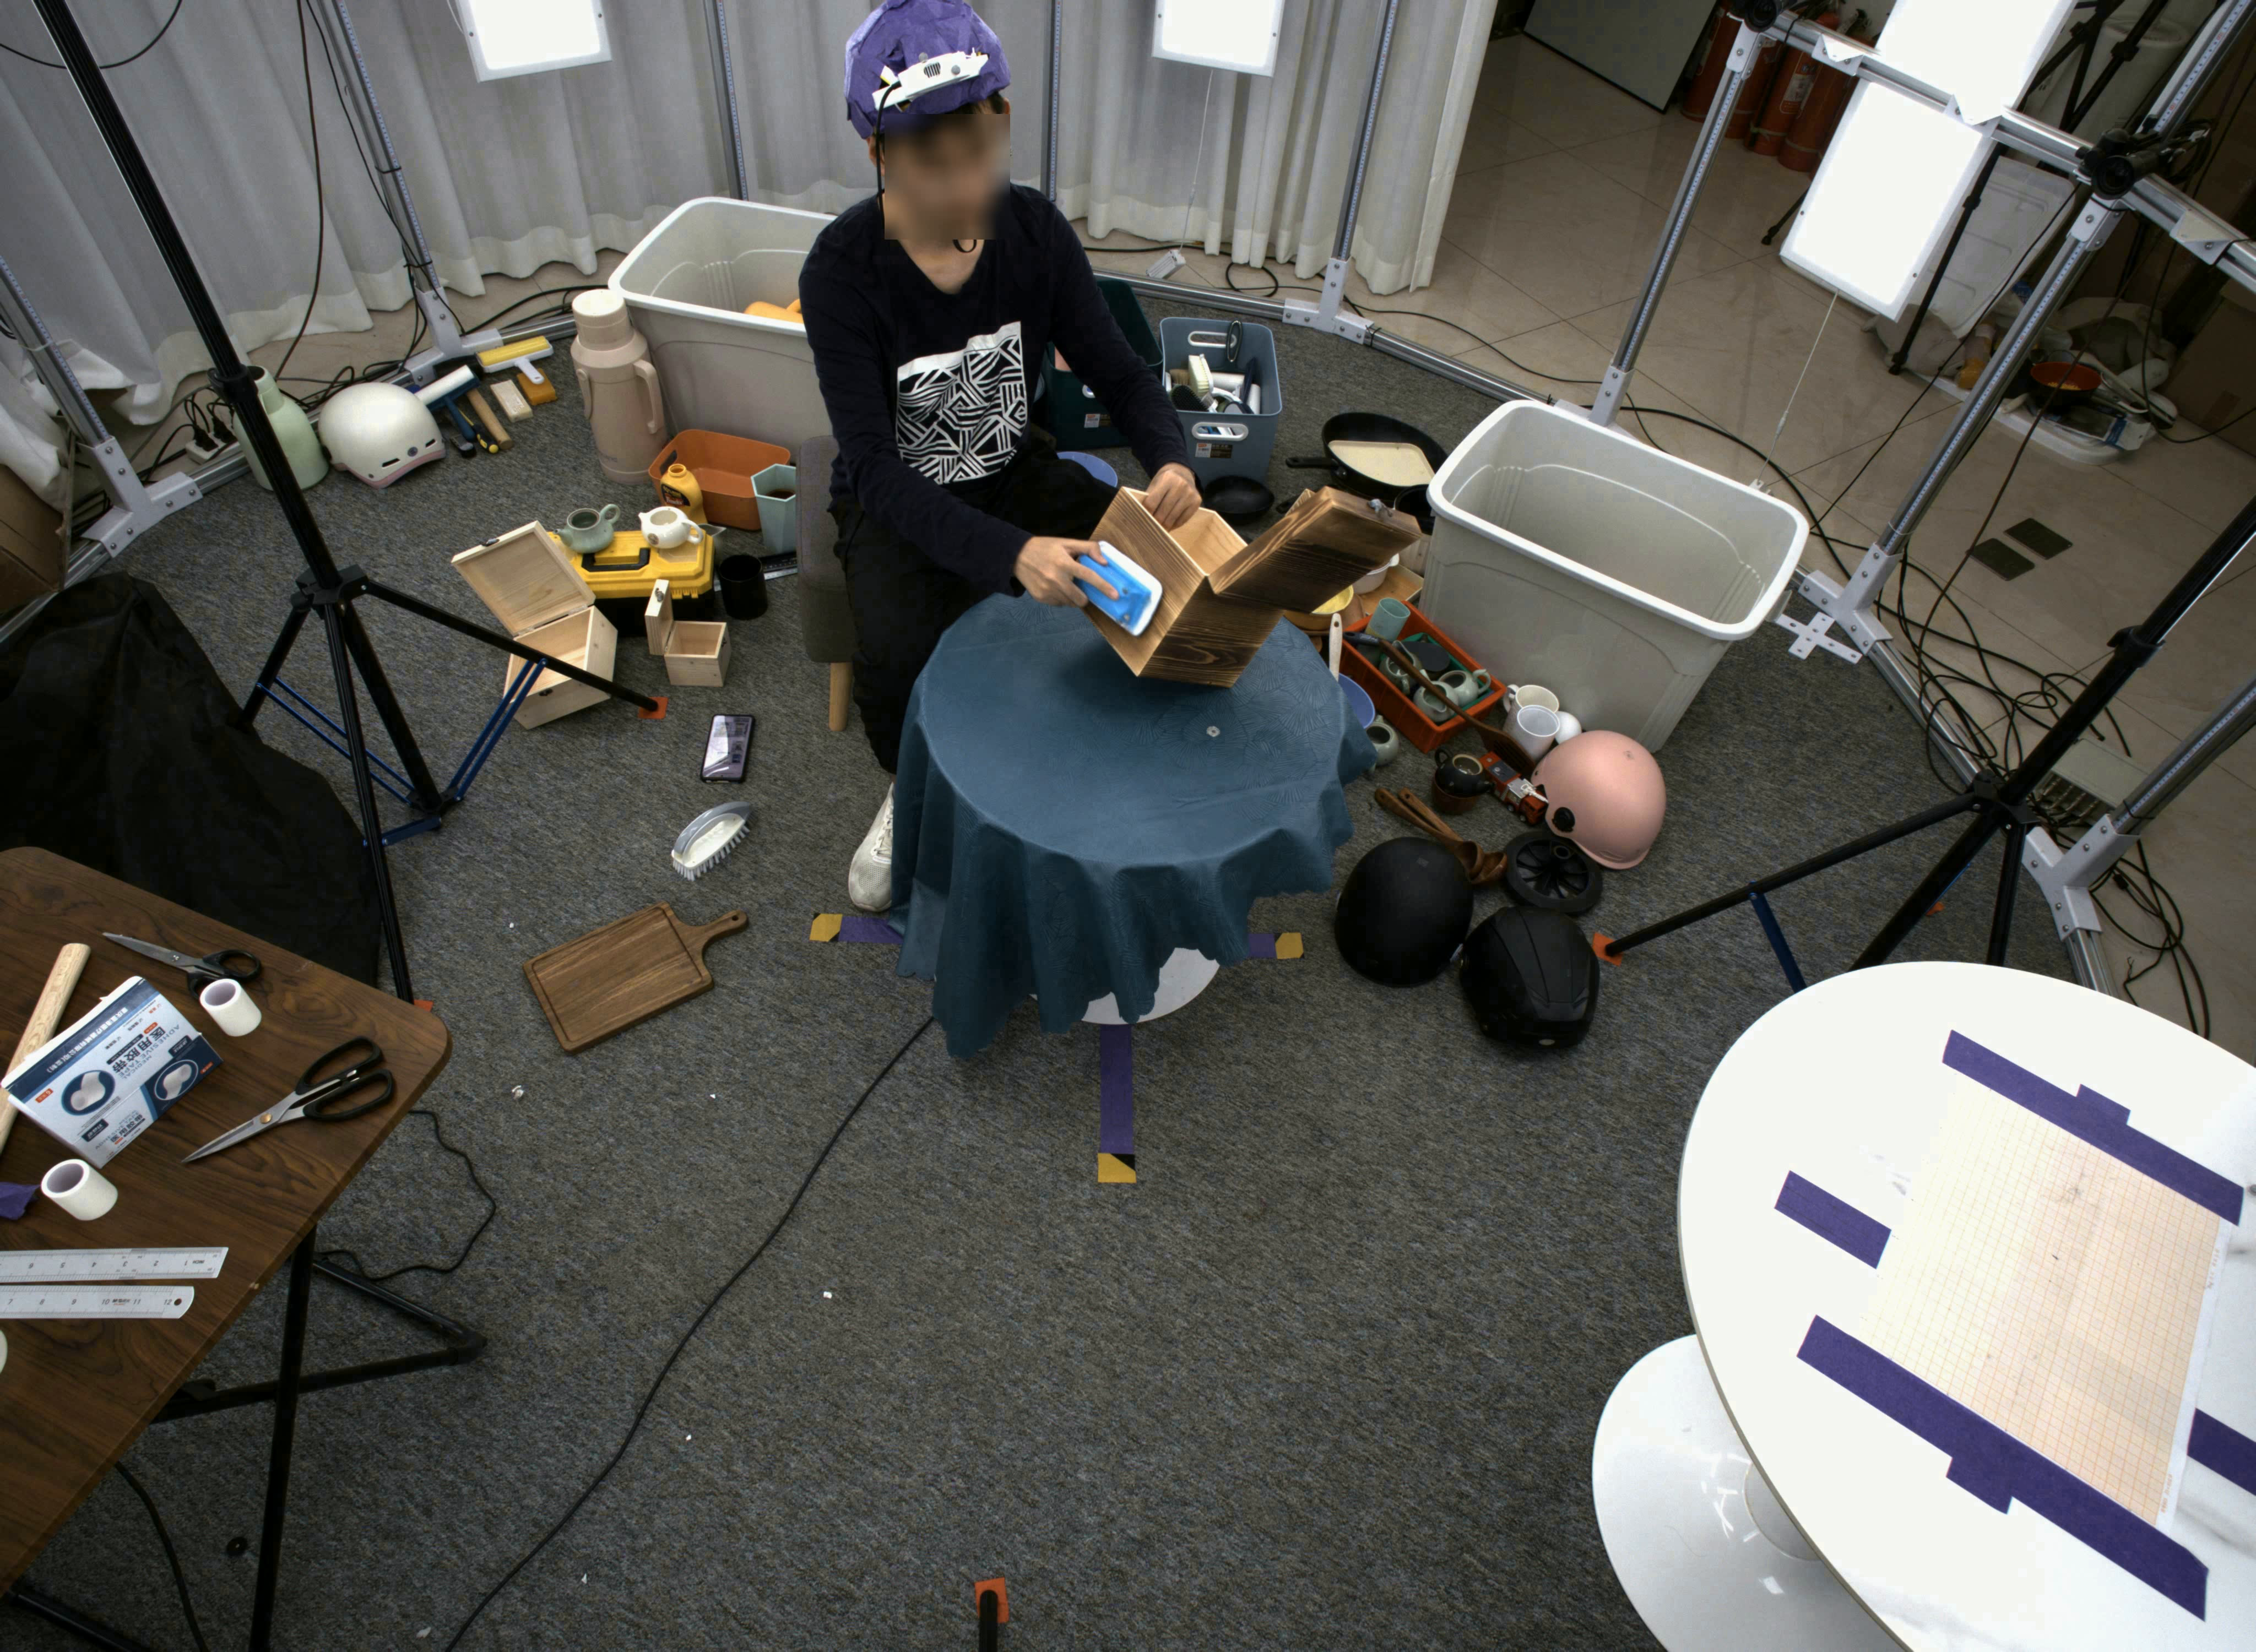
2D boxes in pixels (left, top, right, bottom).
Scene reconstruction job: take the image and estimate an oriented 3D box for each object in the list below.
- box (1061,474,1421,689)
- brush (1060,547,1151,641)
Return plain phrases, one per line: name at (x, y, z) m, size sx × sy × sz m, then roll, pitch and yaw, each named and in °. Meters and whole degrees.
box at (0.145, -0.362, 1.726) m, size 0.207 × 0.370 × 0.328 m, roll 2°, pitch 41°, yaw -47°
brush at (-0.038, -0.311, 1.706) m, size 0.146 × 0.083 × 0.055 m, roll 40°, pitch 21°, yaw 32°
